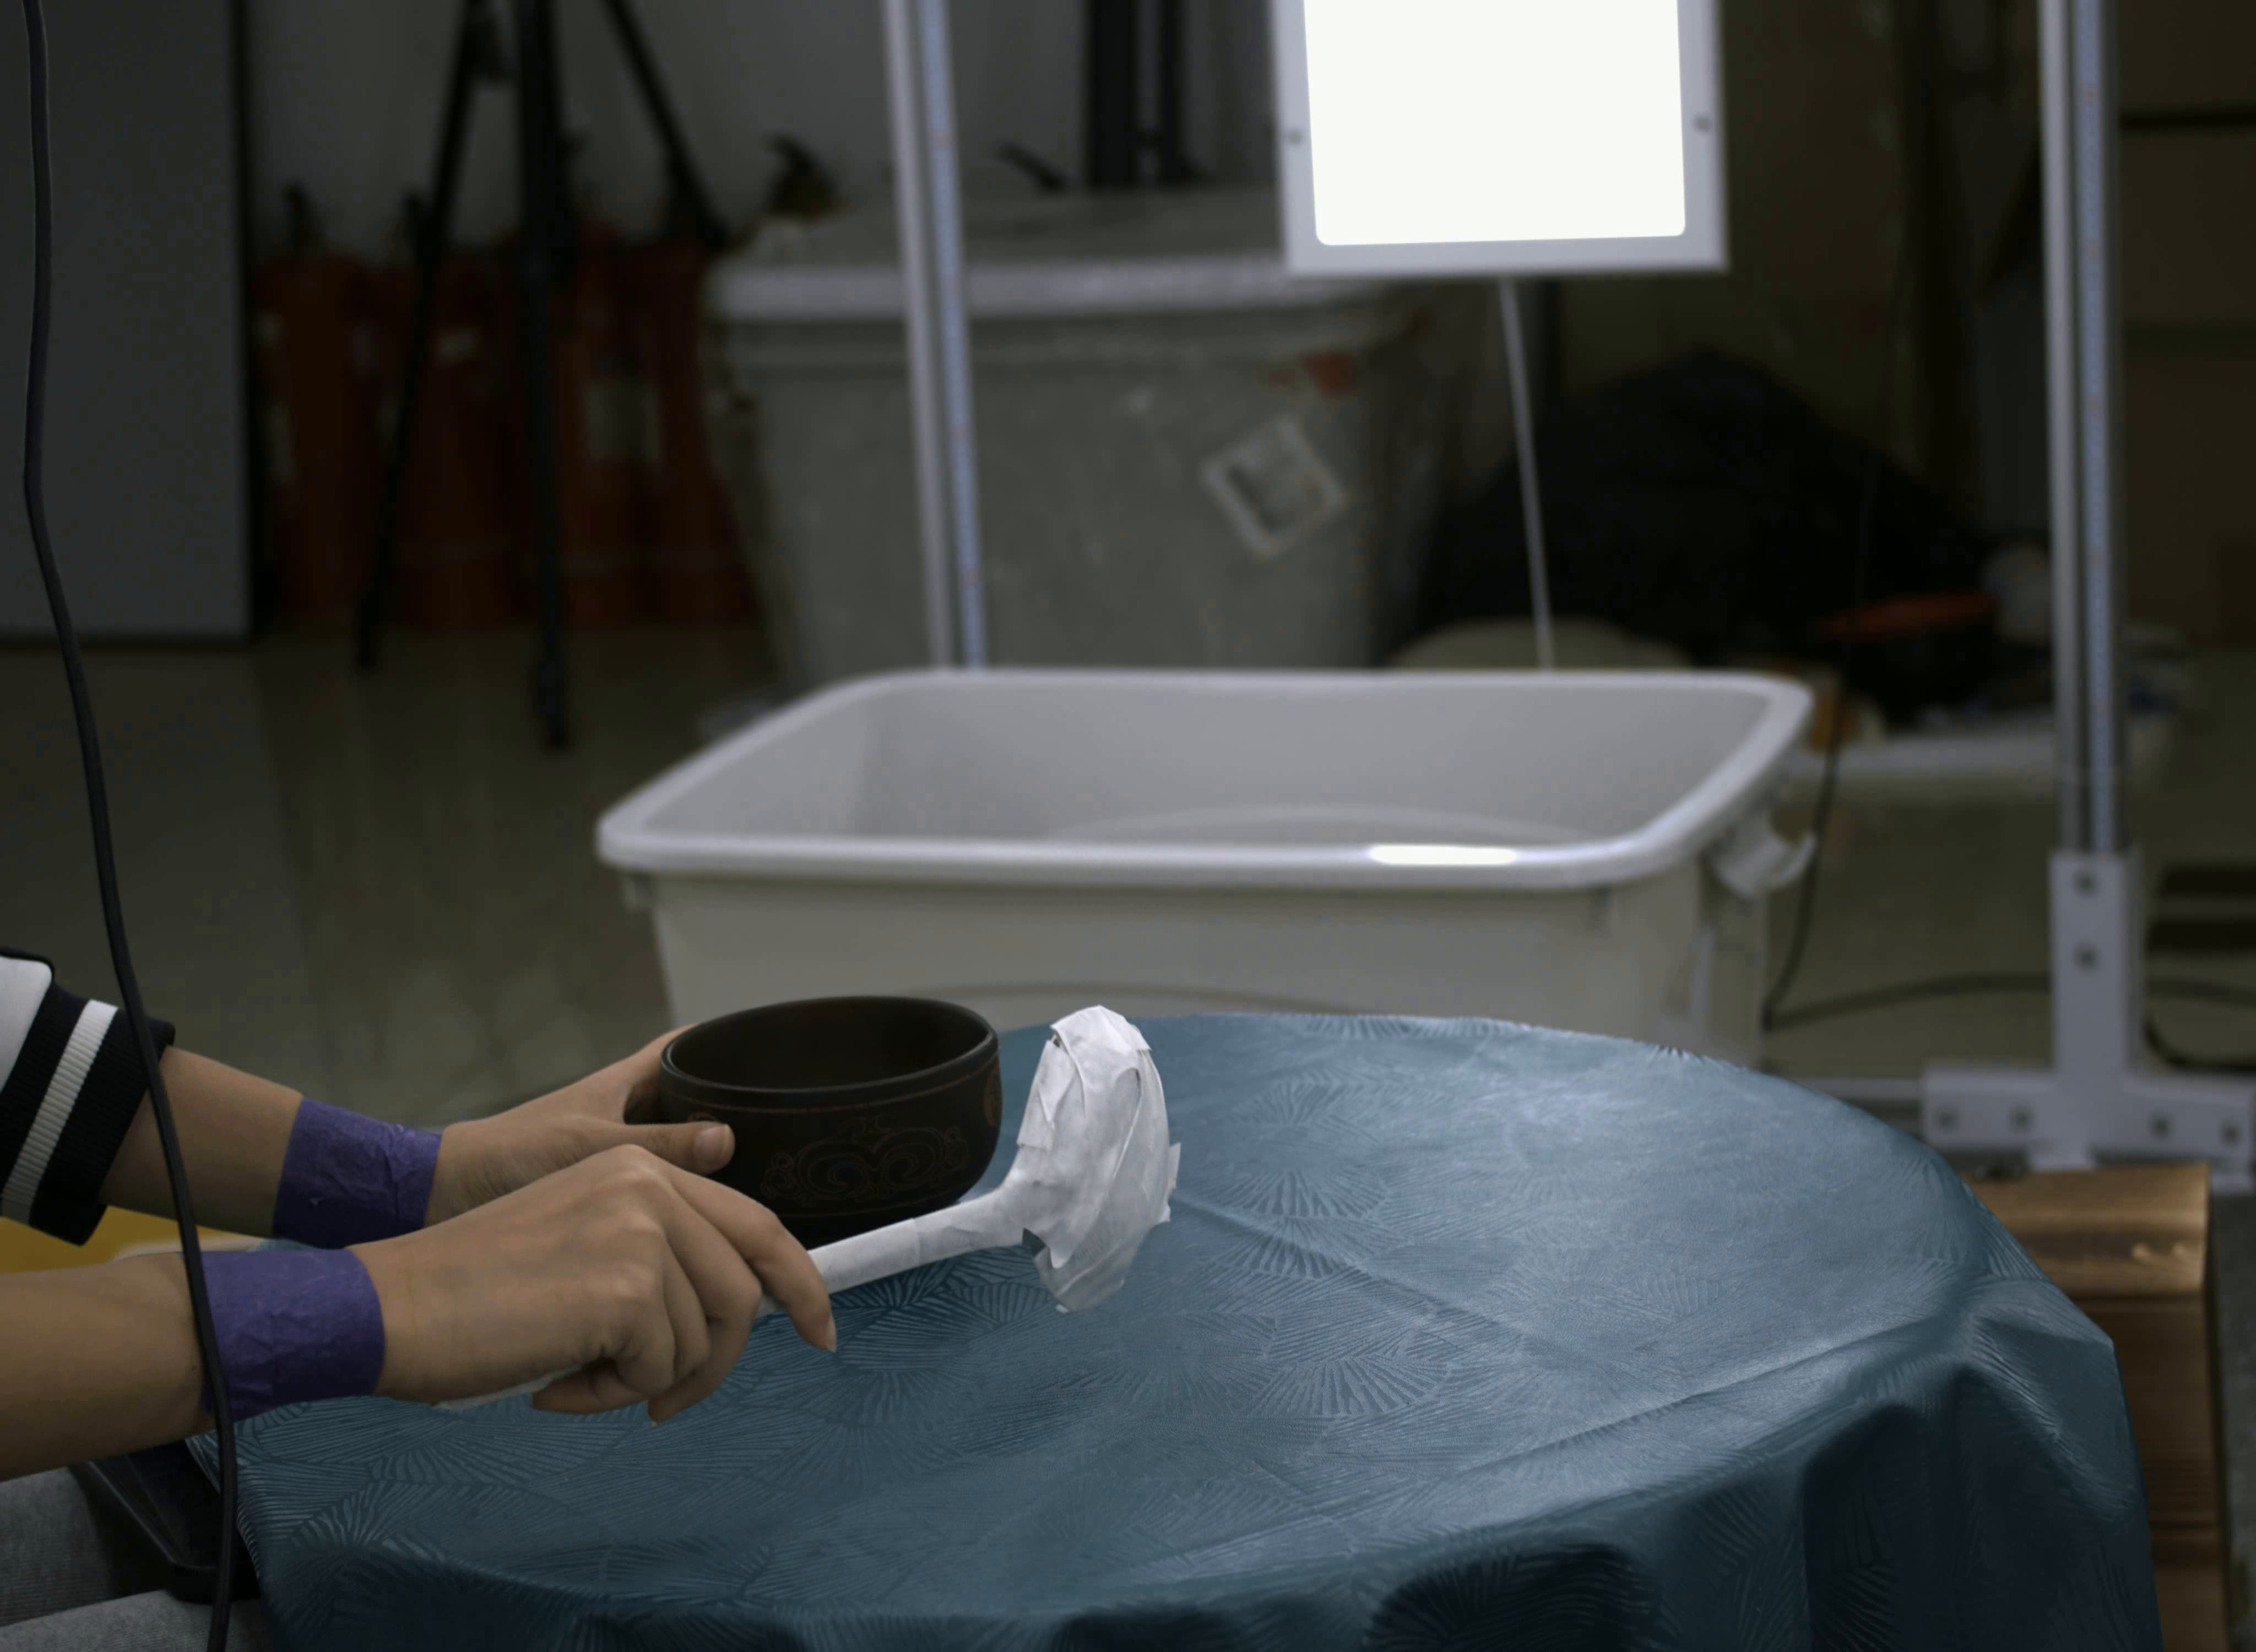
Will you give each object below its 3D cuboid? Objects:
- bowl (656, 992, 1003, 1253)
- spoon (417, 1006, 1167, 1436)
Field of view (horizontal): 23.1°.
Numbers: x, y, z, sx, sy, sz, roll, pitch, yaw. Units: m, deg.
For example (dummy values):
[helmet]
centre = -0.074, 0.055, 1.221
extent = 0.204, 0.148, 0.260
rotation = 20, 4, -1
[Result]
[bowl]
centre = -0.100, 0.104, 1.872
extent = 0.118, 0.070, 0.118
rotation = -5, 13, 0
[spoon]
centre = -0.096, 0.132, 1.648
extent = 0.271, 0.101, 0.060
rotation = -18, 14, -25
